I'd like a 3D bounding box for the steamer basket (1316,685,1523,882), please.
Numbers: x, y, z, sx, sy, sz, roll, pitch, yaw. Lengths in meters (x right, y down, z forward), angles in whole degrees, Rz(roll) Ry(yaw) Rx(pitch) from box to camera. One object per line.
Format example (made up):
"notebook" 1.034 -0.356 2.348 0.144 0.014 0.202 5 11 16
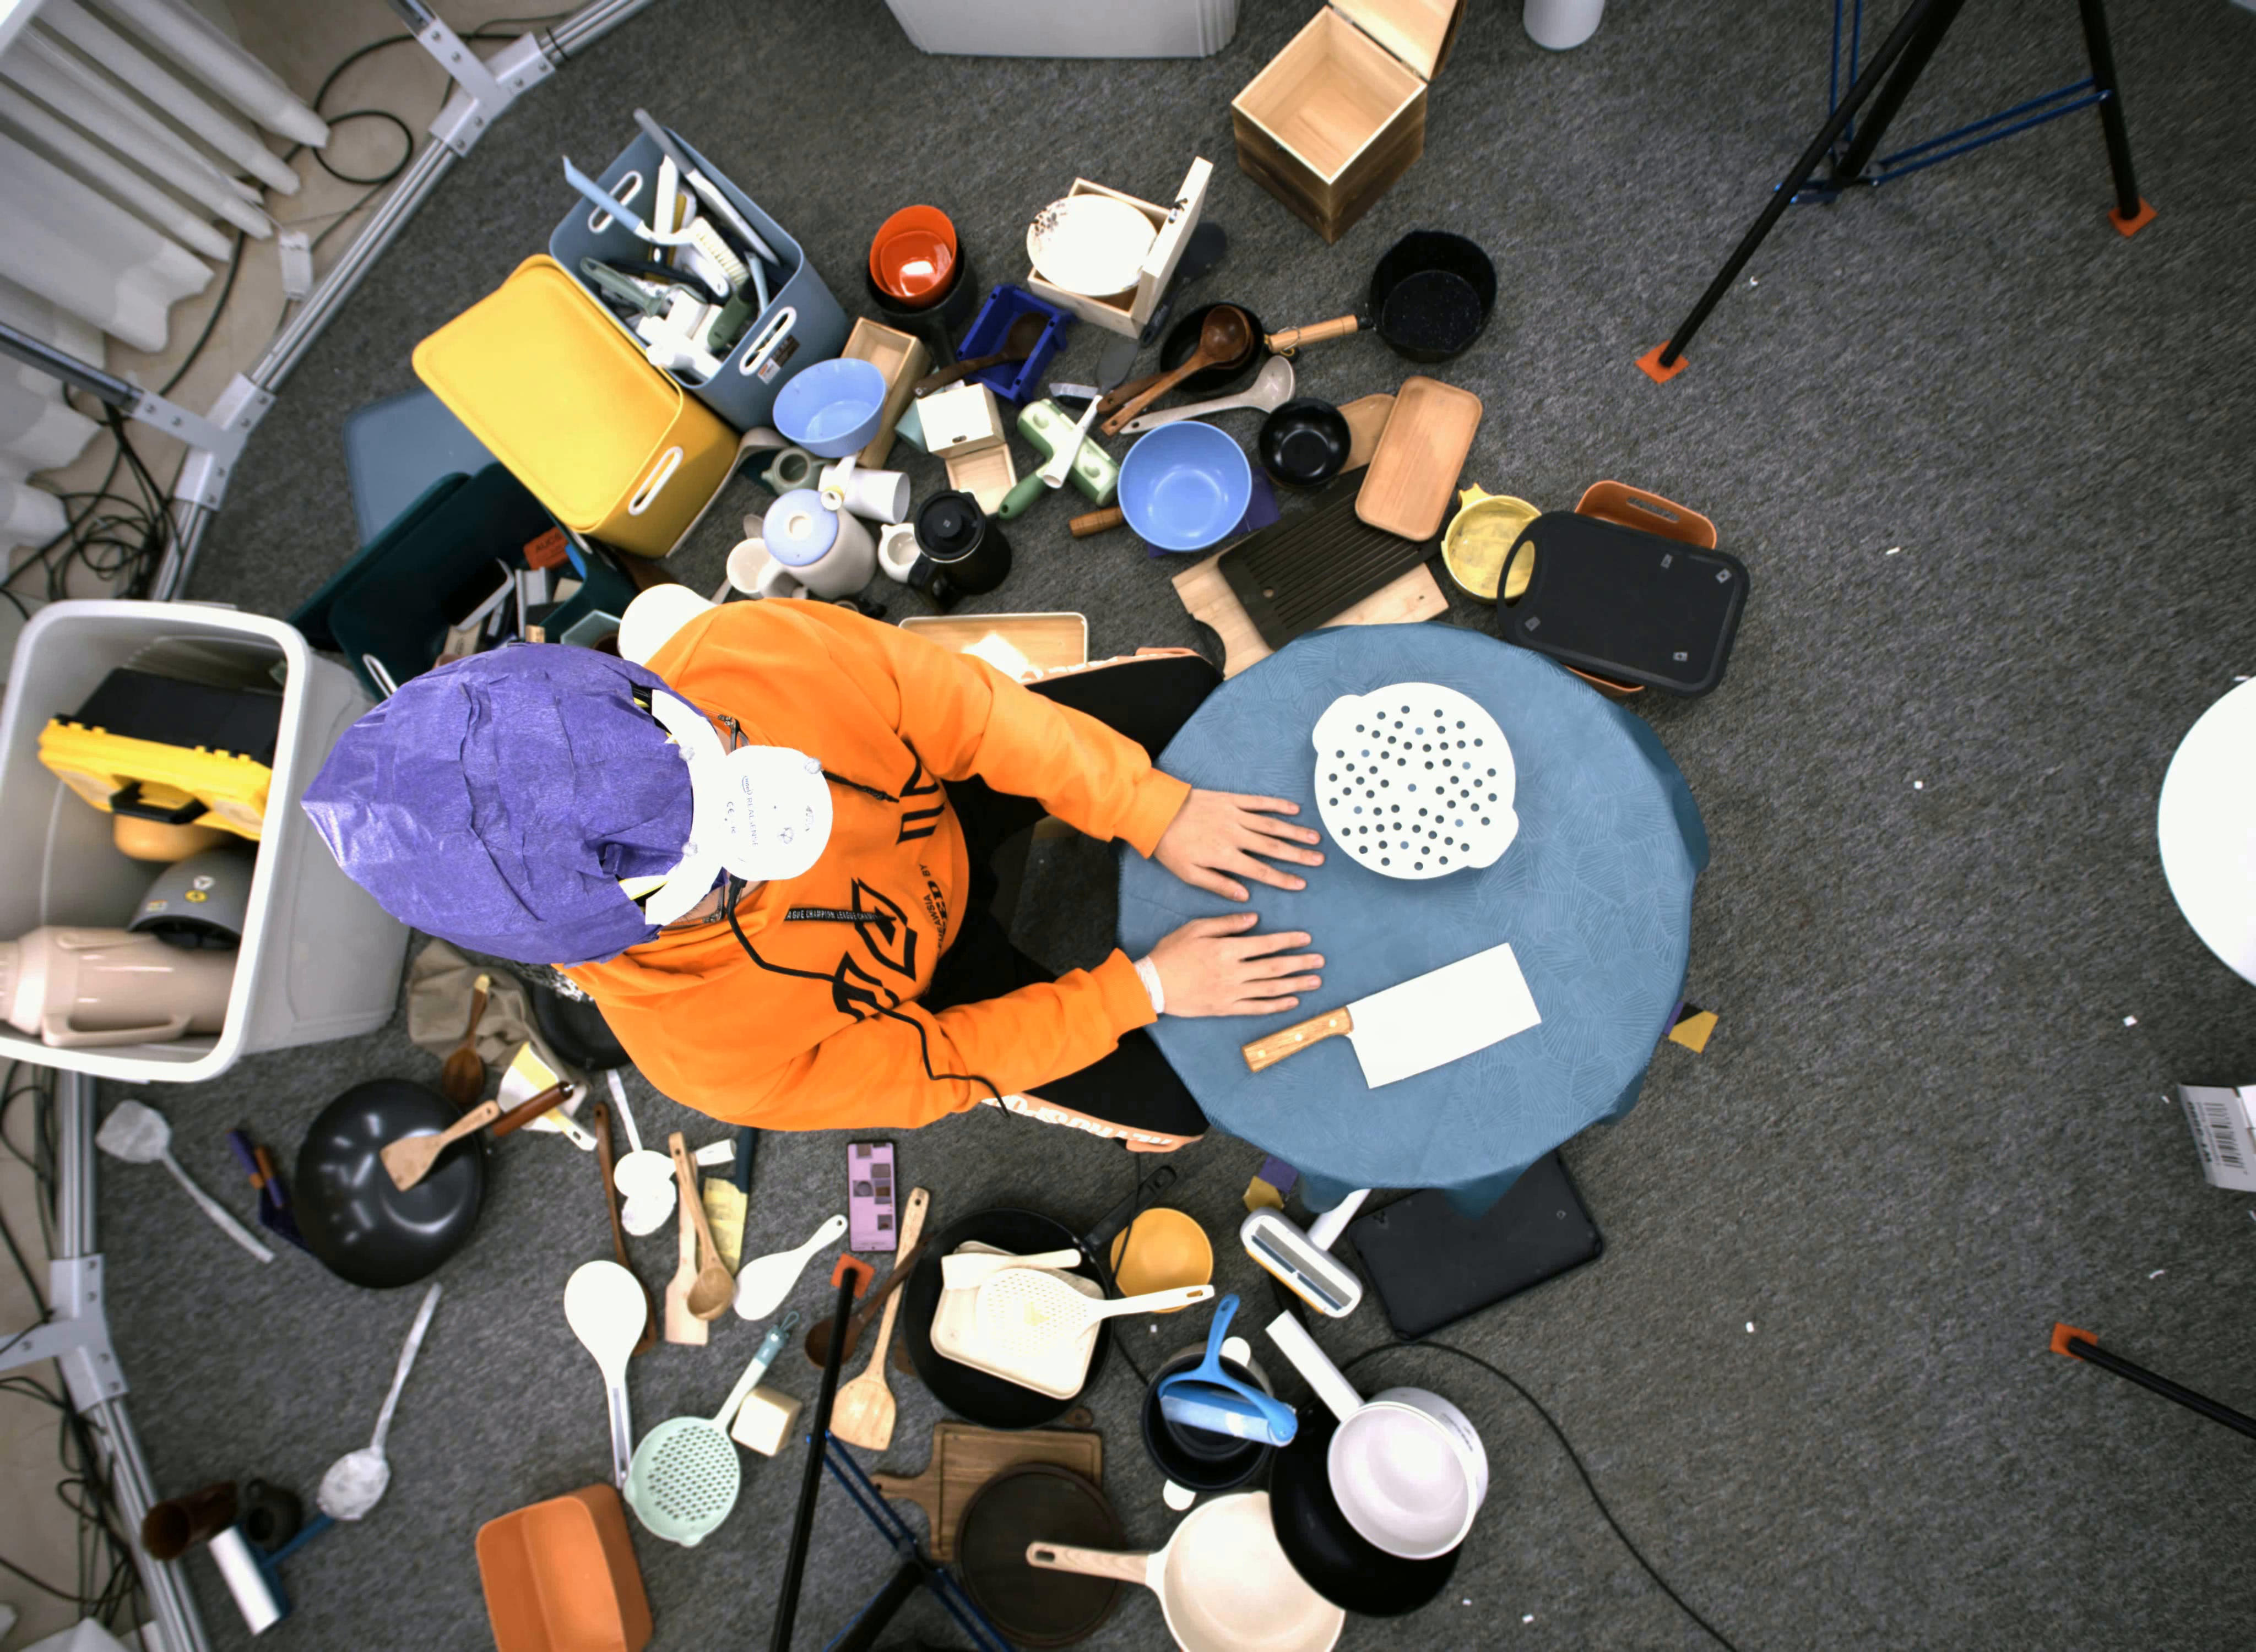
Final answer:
"steamer basket" 0.300 -0.043 1.426 0.230 0.069 0.202 38 94 9

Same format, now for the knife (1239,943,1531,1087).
"knife" 0.270 0.215 1.444 0.307 0.021 0.092 -22 84 6
